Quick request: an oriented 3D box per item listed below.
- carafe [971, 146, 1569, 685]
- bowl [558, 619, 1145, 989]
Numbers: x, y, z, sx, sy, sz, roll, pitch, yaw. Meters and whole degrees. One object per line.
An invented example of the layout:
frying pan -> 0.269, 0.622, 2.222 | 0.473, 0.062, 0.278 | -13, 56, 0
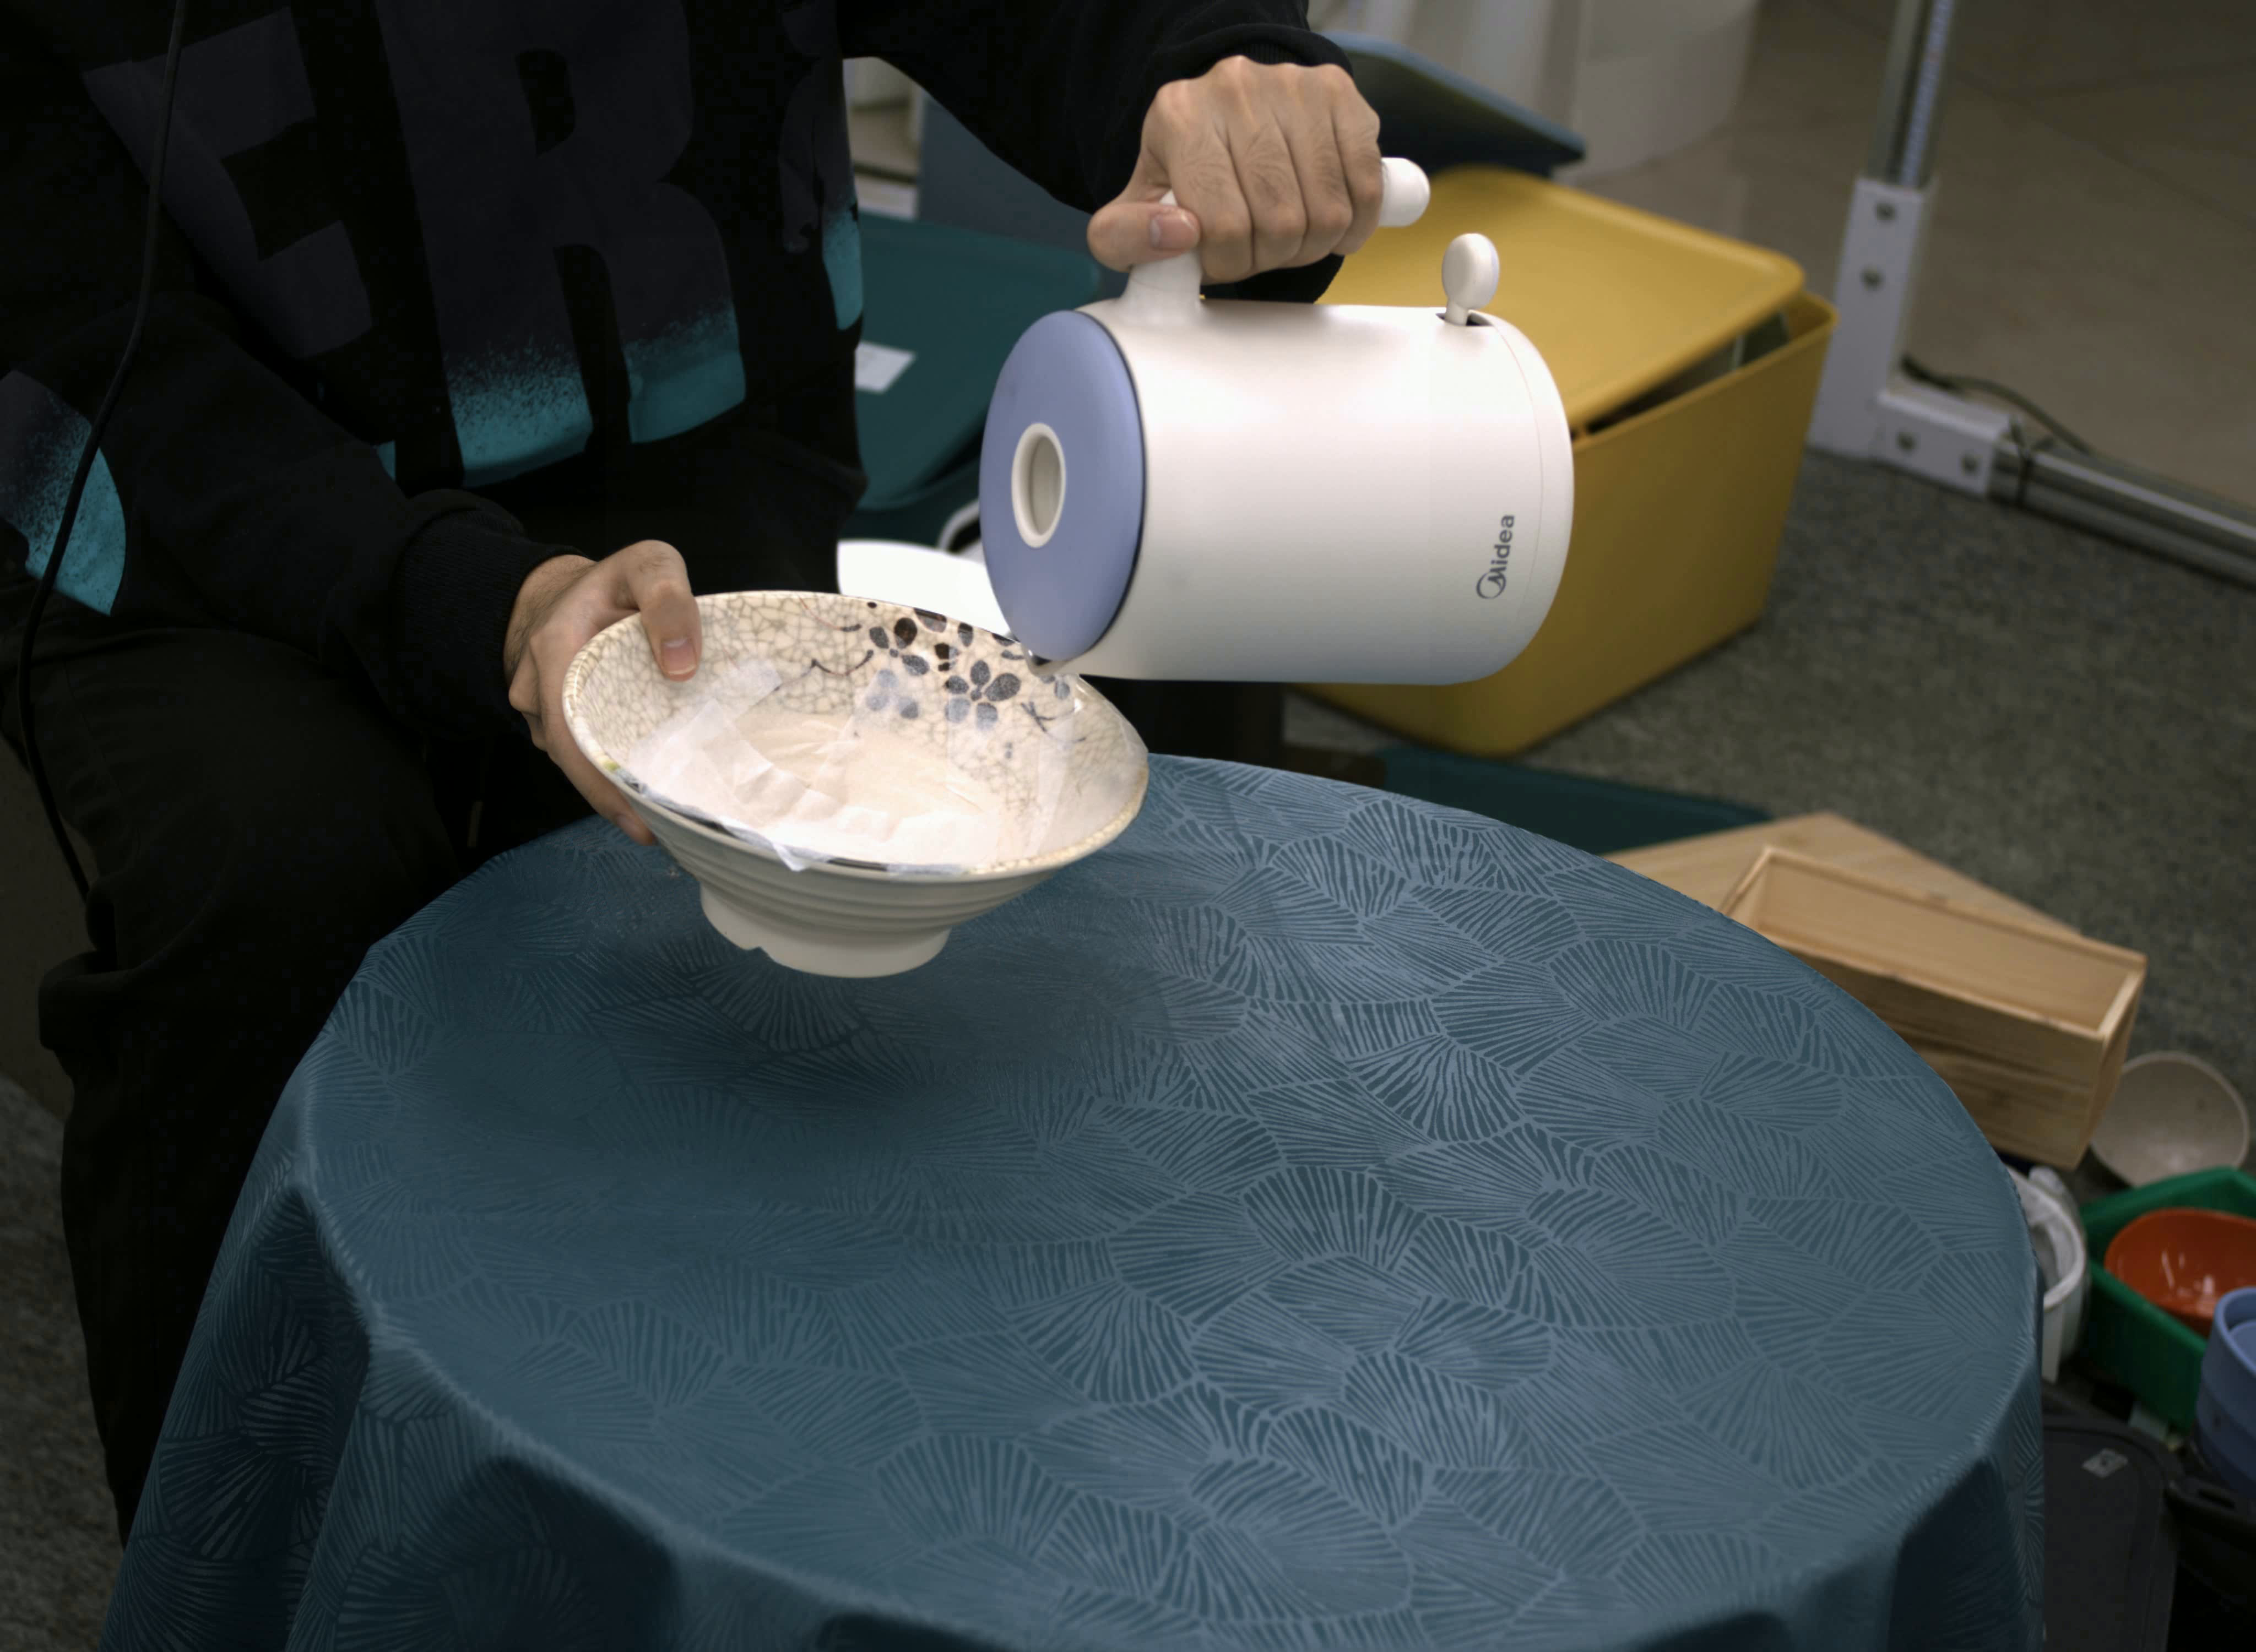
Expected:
carafe -> 0.052, -0.139, 1.821 | 0.181, 0.191, 0.133 | 3, 18, -28
bowl -> -0.099, 0.003, 1.834 | 0.203, 0.078, 0.205 | 8, 23, -4
